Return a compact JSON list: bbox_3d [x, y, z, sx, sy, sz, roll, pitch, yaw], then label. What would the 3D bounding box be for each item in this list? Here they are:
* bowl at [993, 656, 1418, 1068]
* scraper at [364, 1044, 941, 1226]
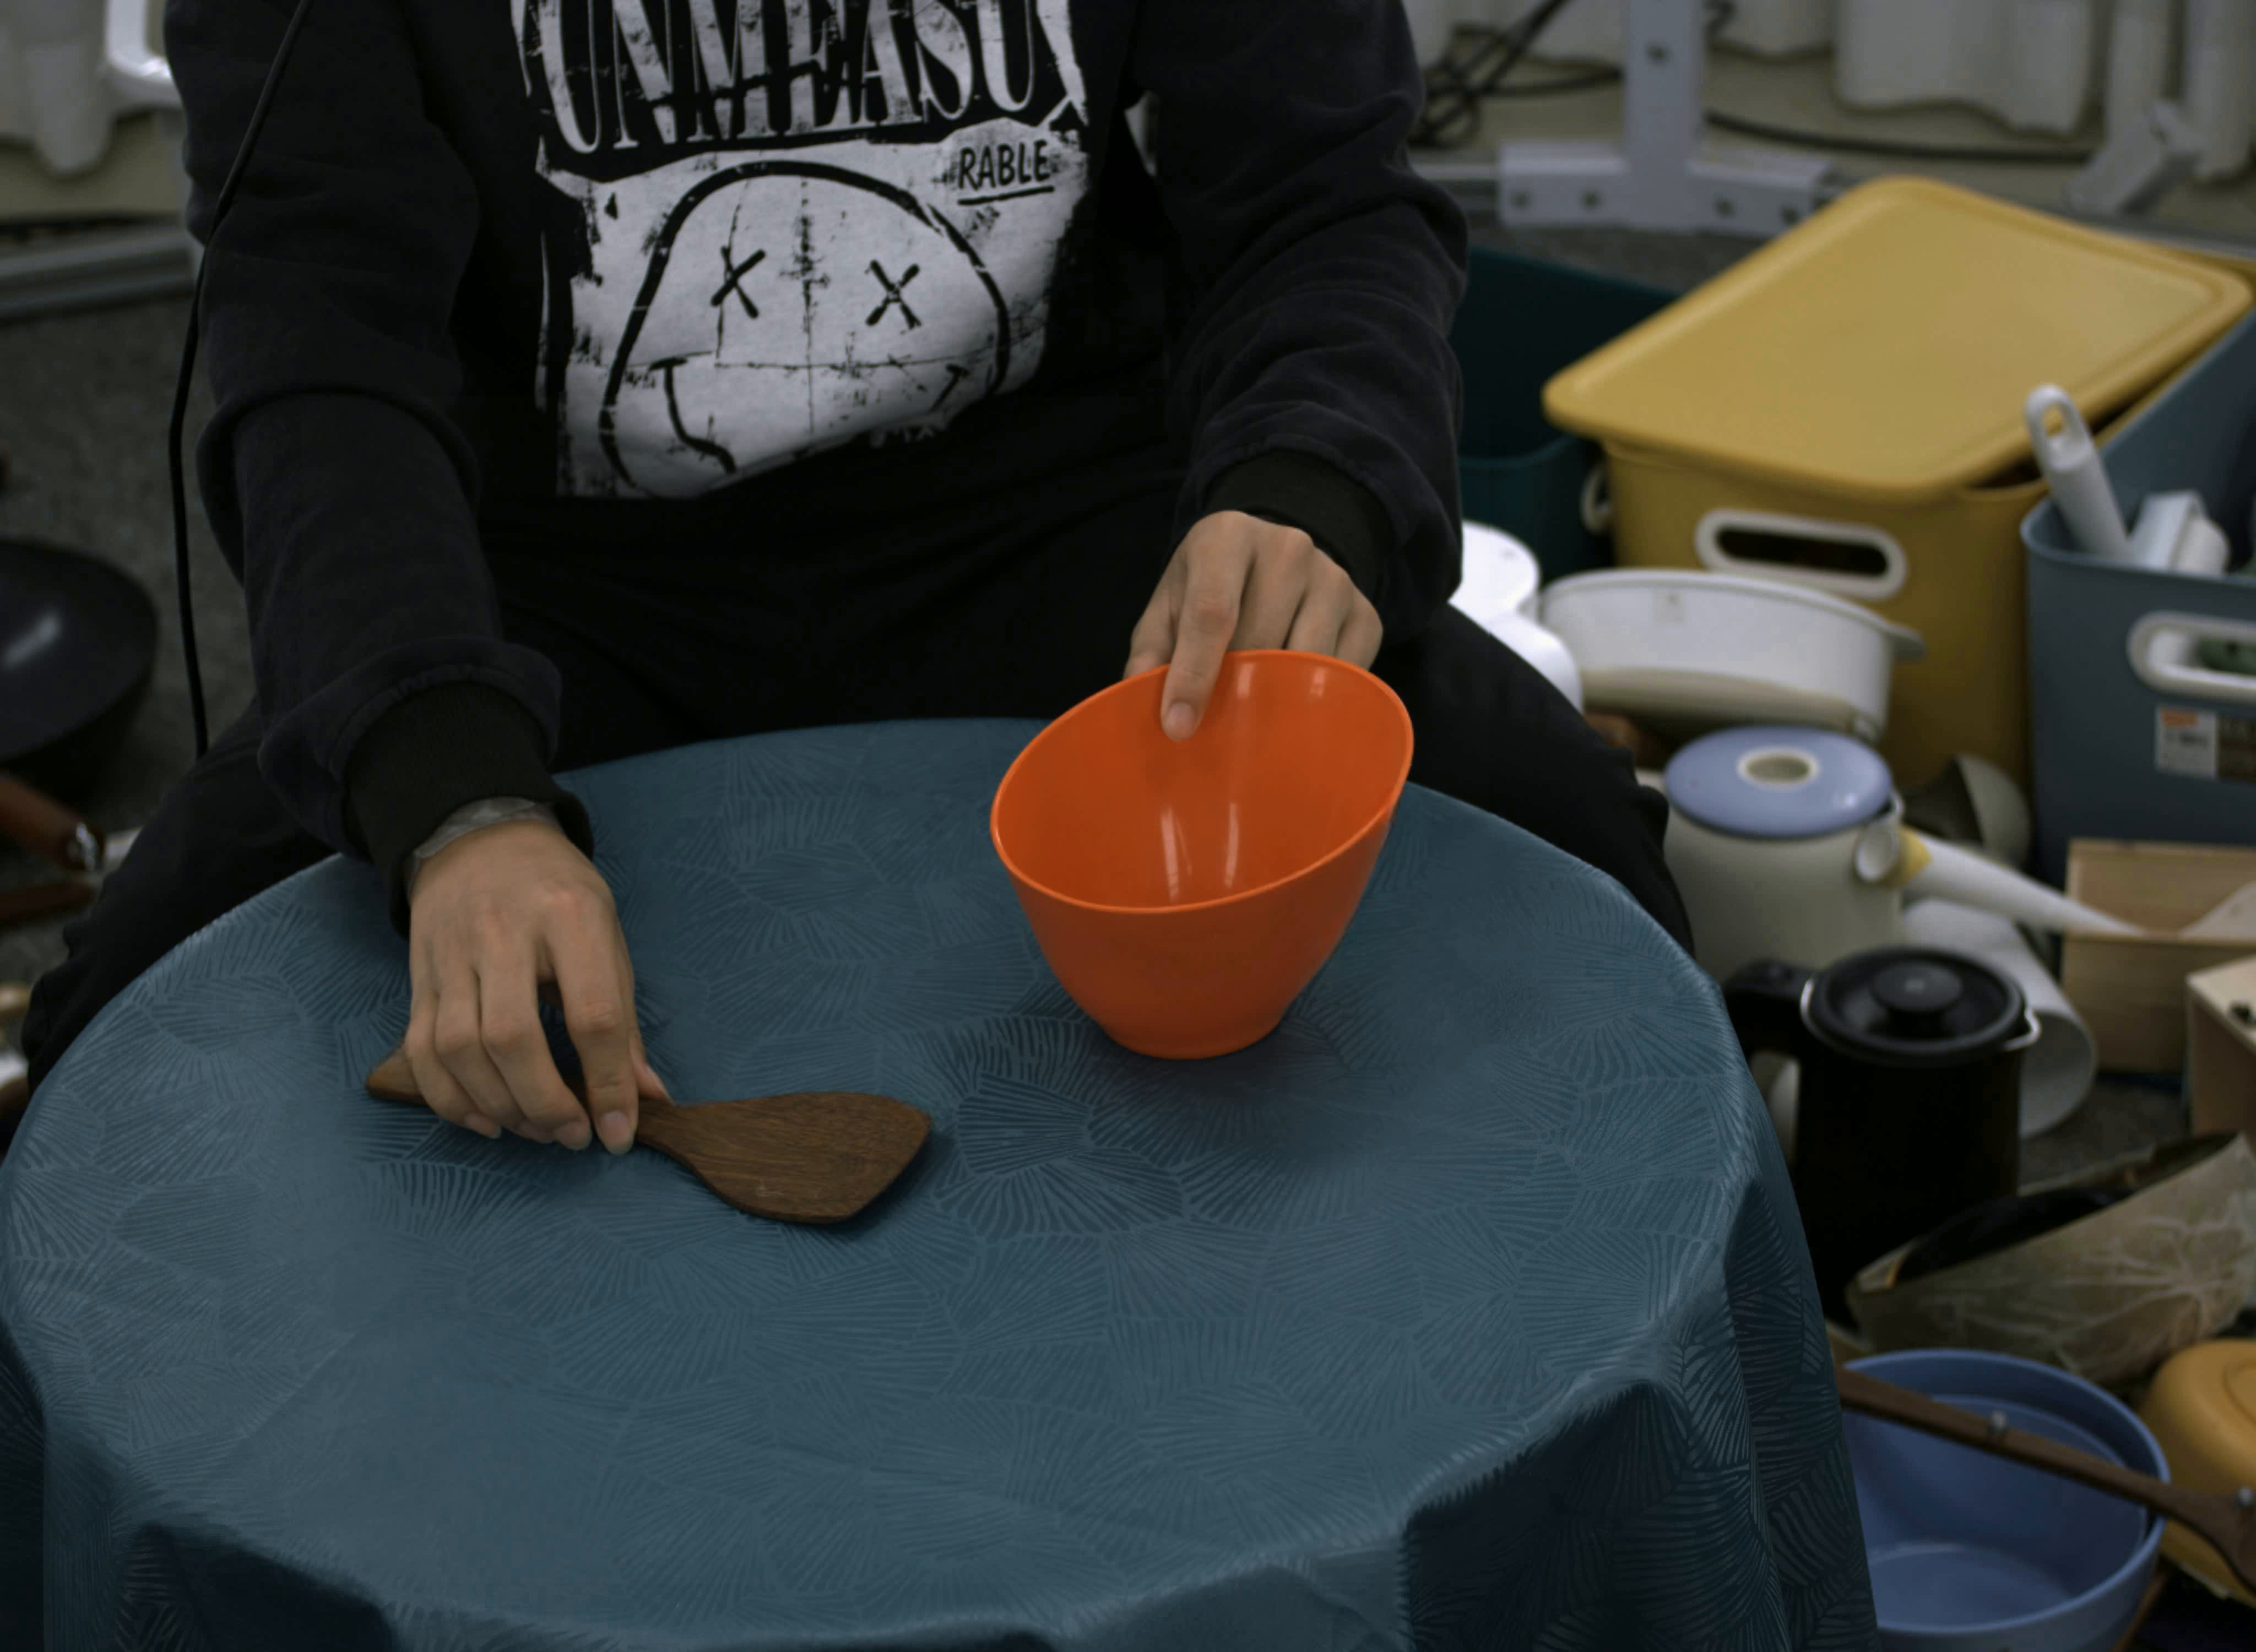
[{"bbox_3d":[0.029,0.020,1.942,0.147,0.103,0.150,-3,31,2],"label":"bowl"},{"bbox_3d":[-0.166,0.100,1.907,0.210,0.011,0.077,10,32,23],"label":"scraper"}]
